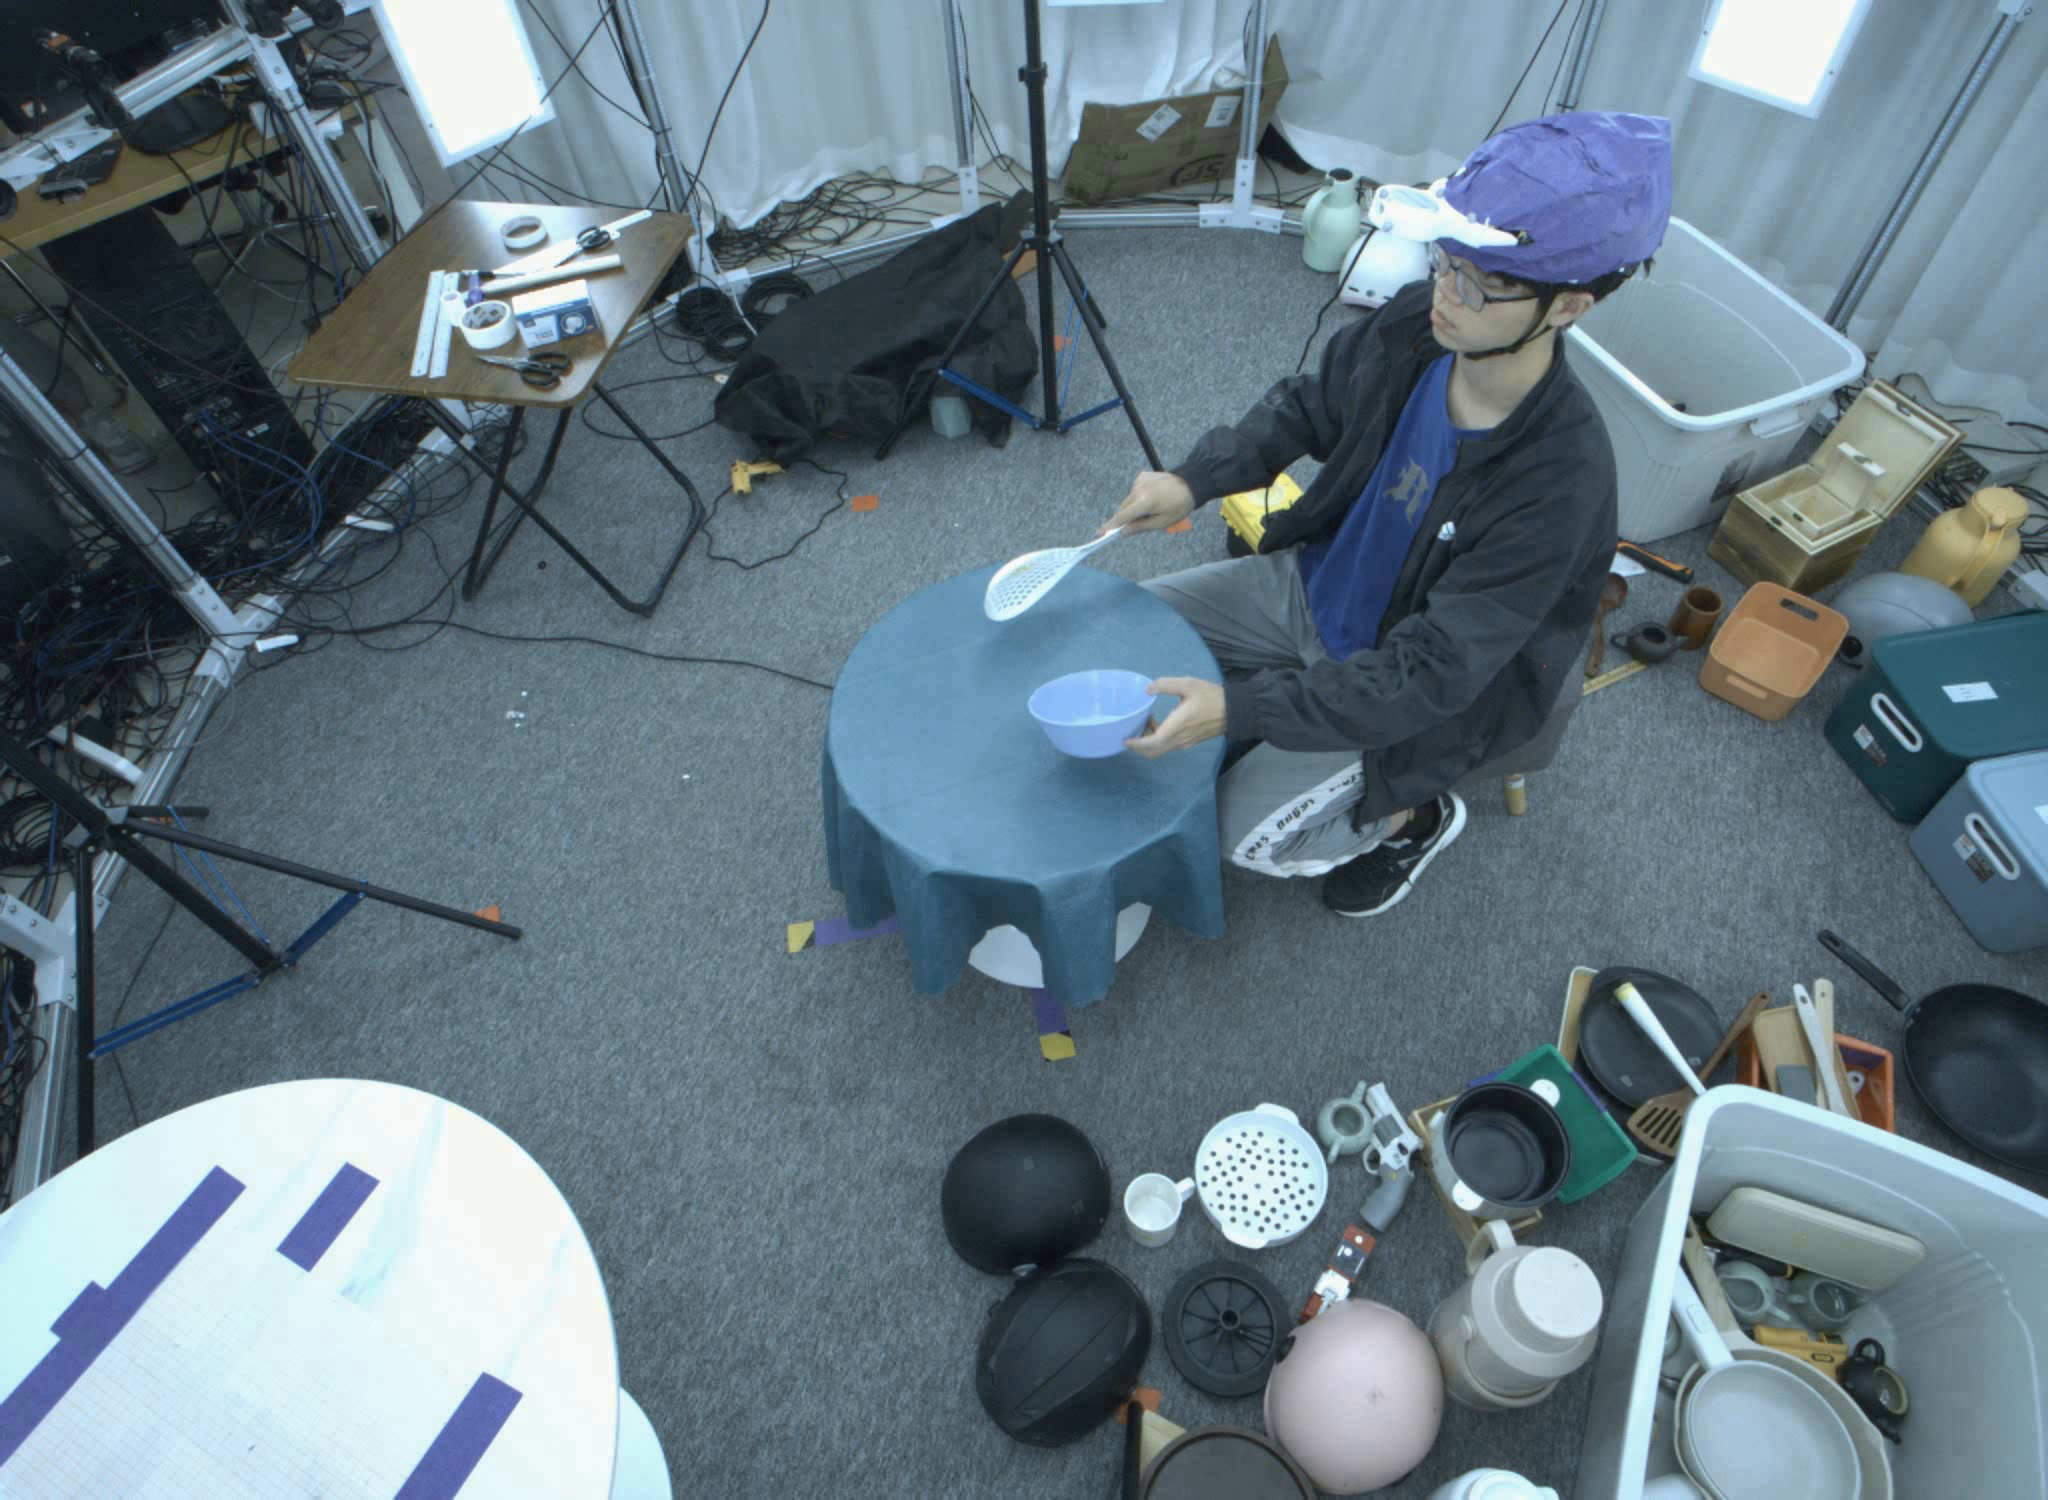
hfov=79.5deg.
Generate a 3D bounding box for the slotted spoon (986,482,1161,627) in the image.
[{"bbox_3d":[0.080,-0.310,1.885,0.349,0.138,0.049,-31,66,-10],"label":"slotted spoon"}]

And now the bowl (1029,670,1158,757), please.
[{"bbox_3d":[0.097,-0.045,1.679,0.176,0.071,0.174,-6,26,4],"label":"bowl"}]
